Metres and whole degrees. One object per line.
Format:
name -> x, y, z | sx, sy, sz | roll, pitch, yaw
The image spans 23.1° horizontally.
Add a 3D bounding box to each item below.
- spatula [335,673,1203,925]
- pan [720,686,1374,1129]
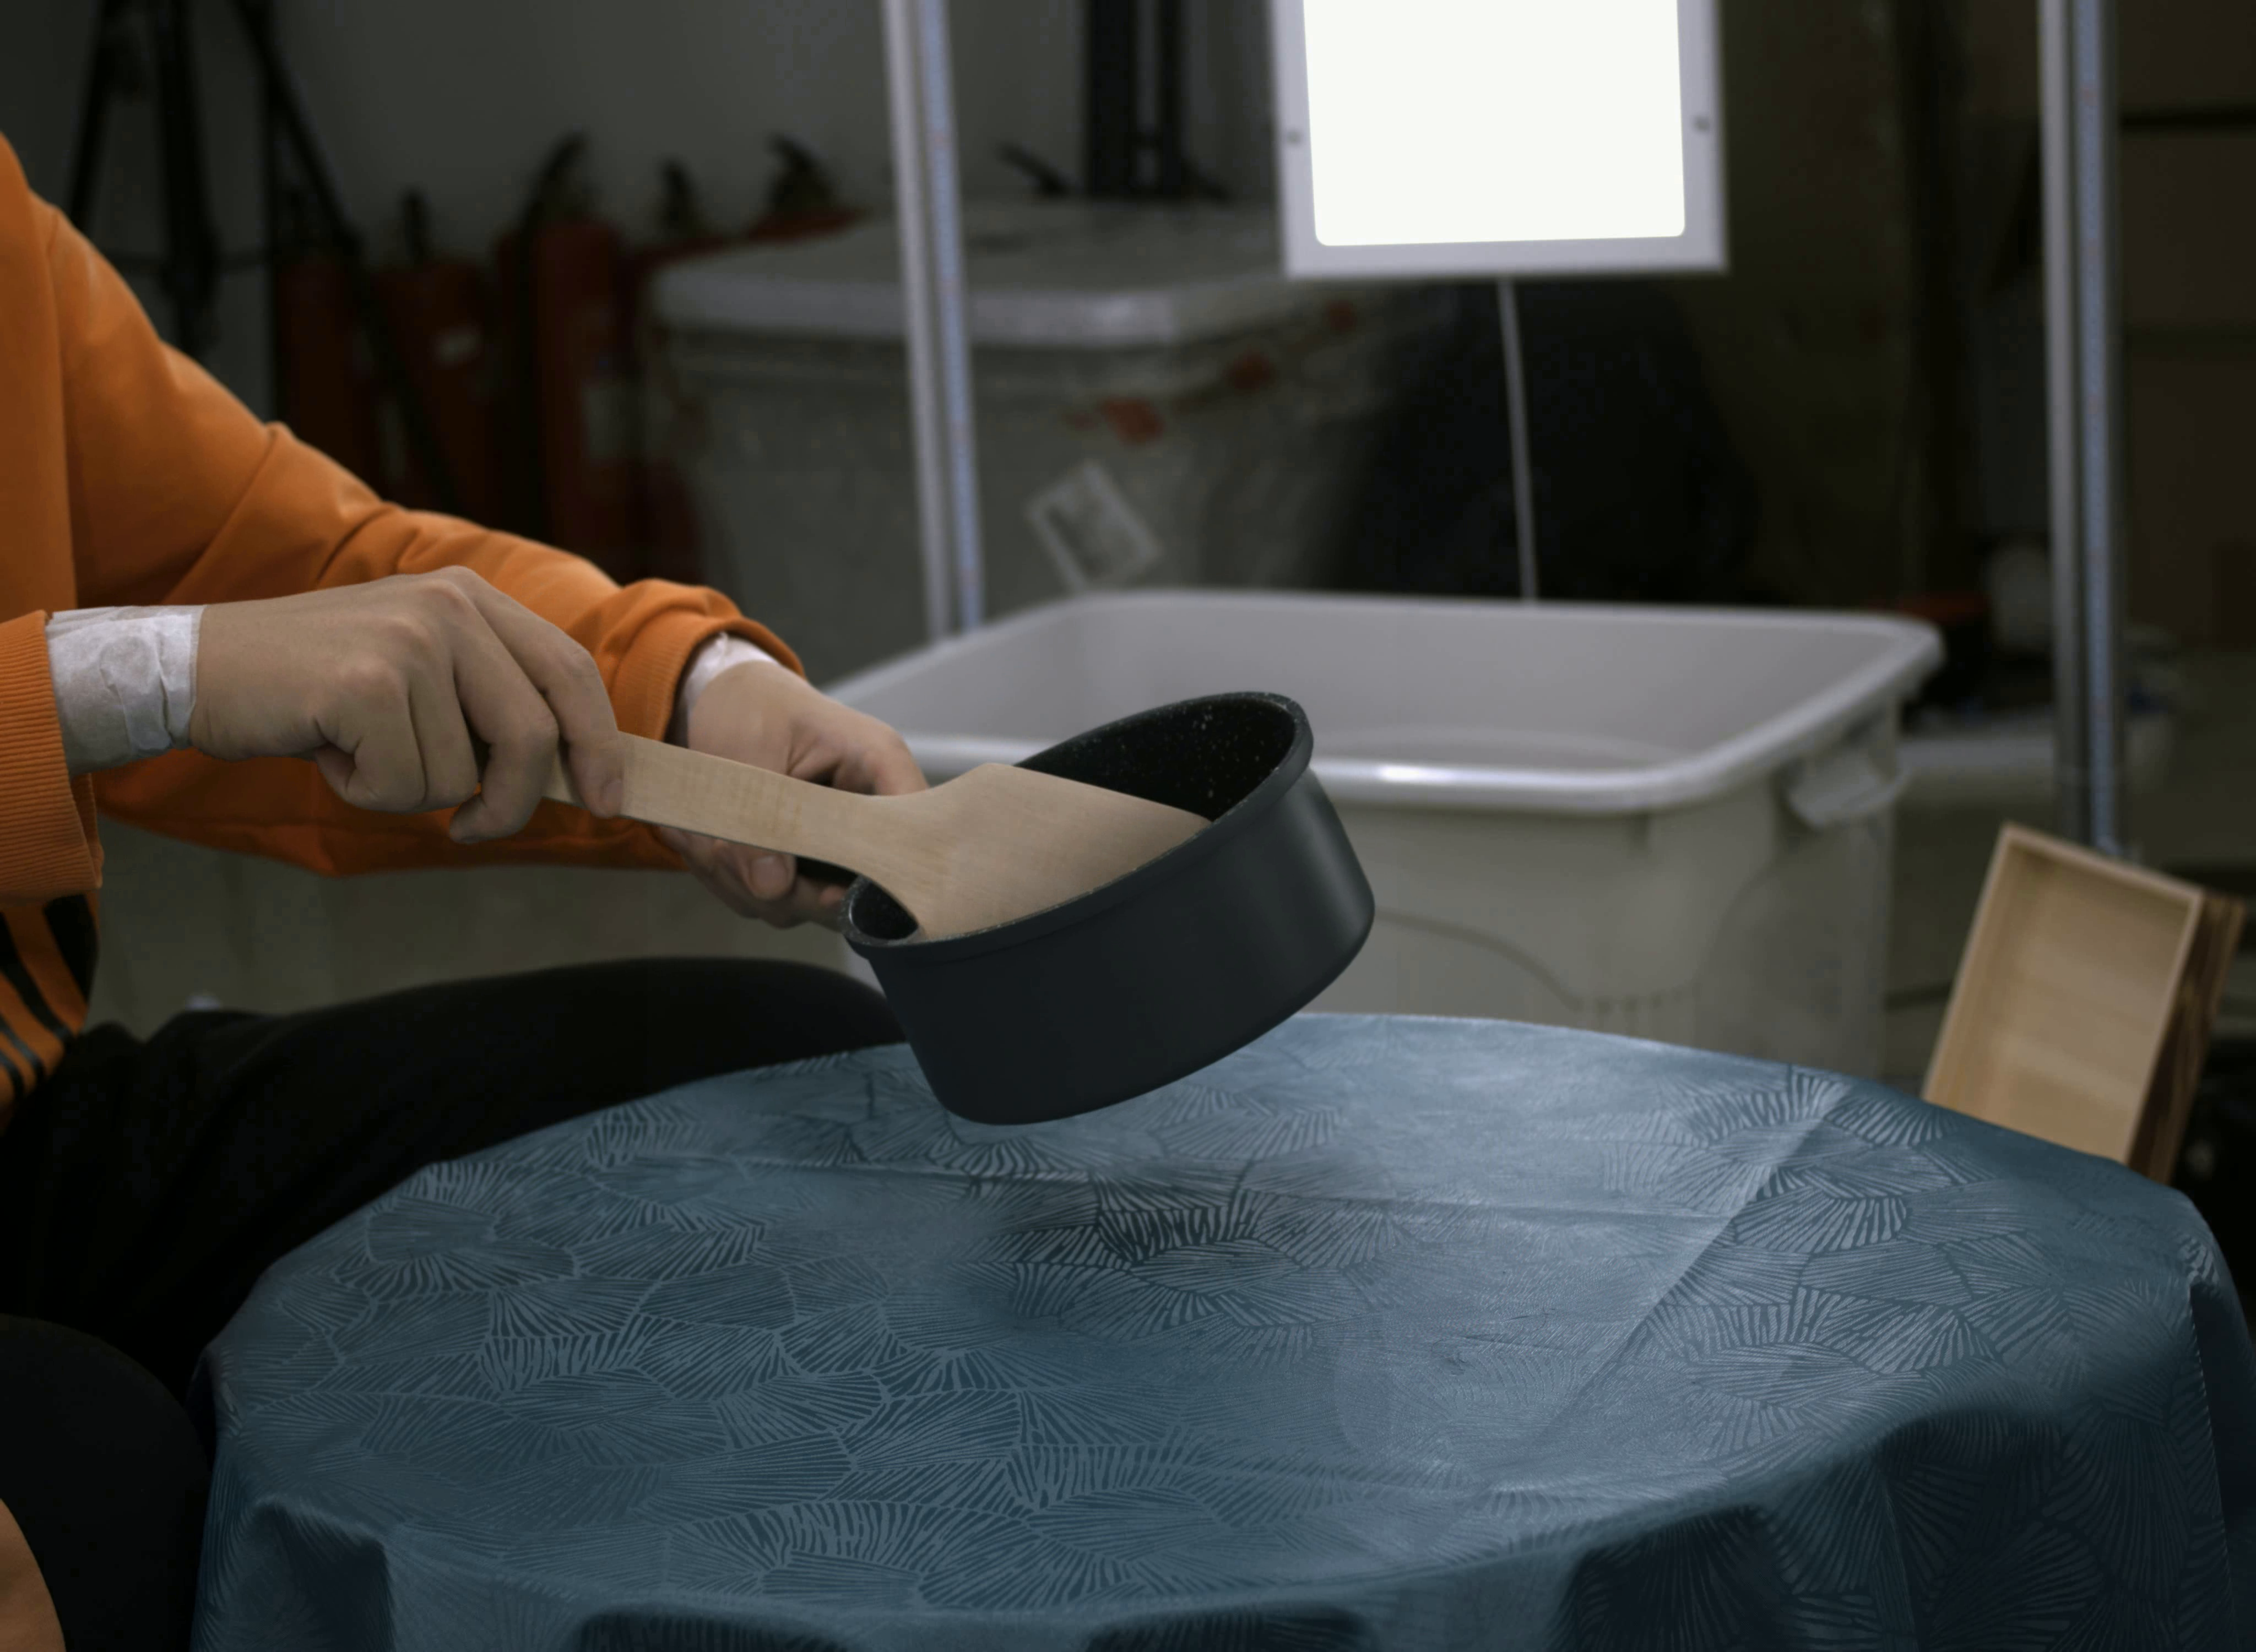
spatula -> -0.115, -0.005, 1.795 | 0.290, 0.072, 0.011 | 14, -3, -11
pan -> -0.050, 0.023, 1.909 | 0.169, 0.086, 0.335 | -33, 20, -26
